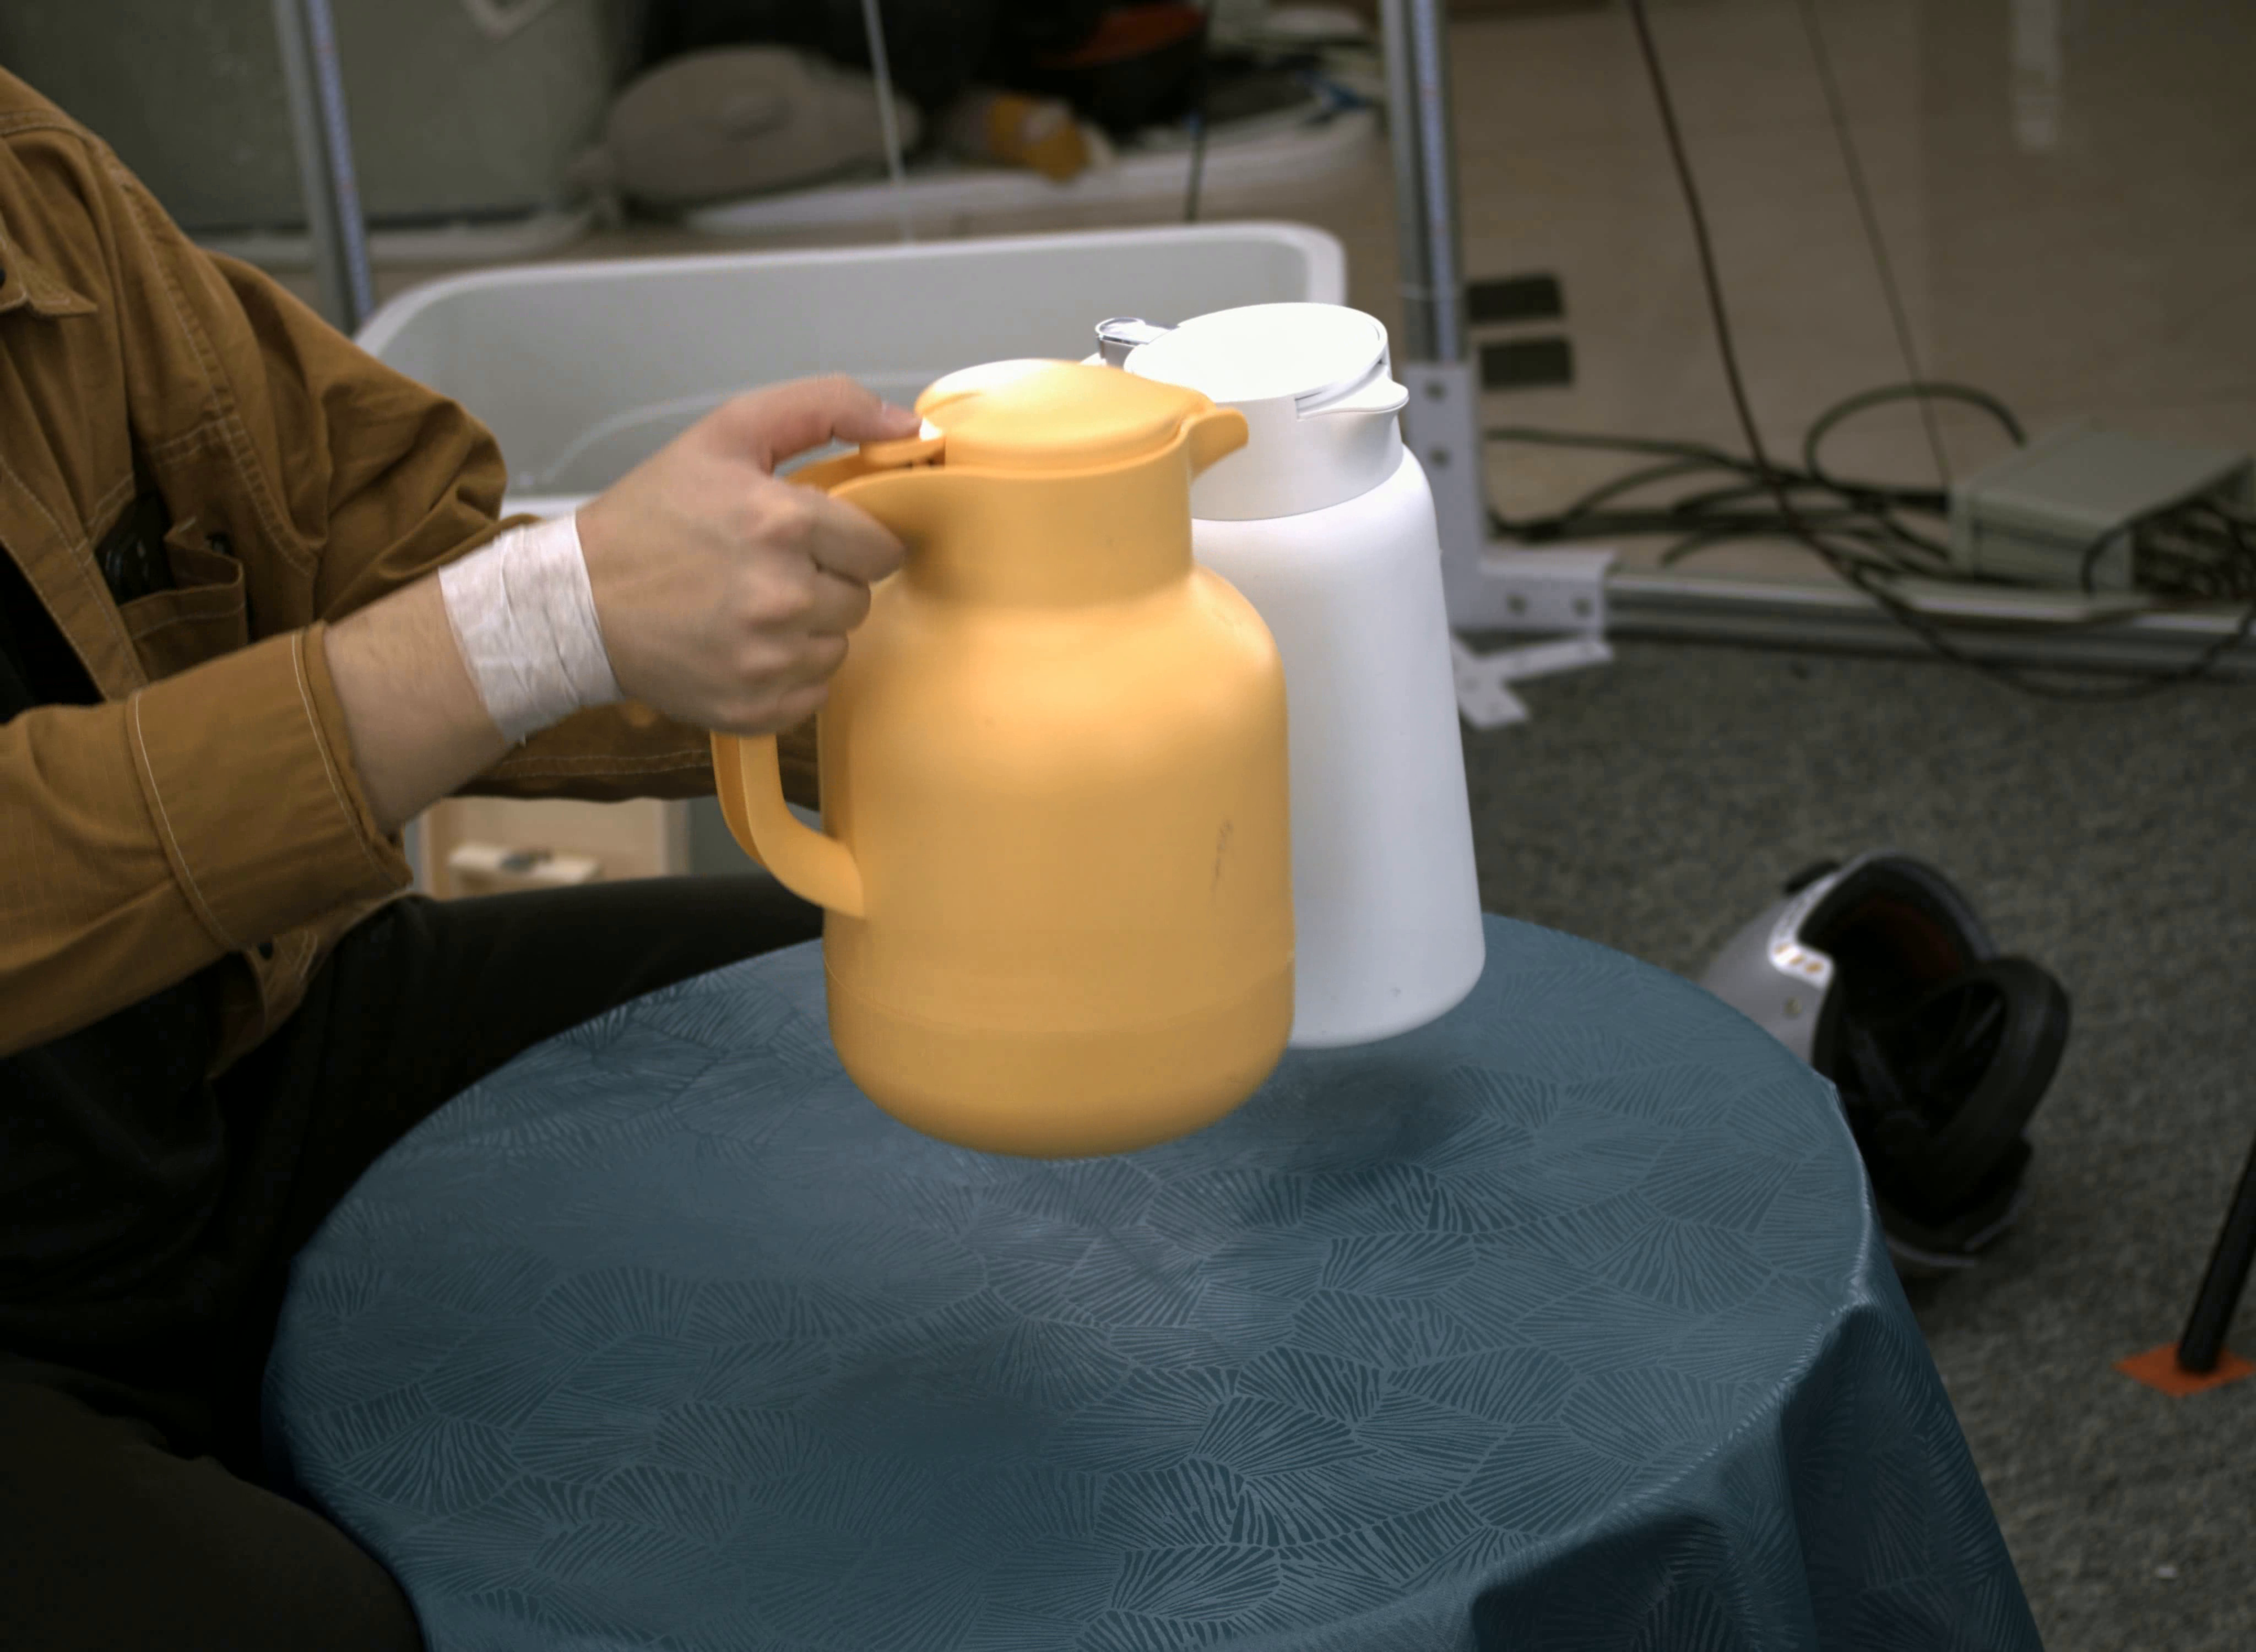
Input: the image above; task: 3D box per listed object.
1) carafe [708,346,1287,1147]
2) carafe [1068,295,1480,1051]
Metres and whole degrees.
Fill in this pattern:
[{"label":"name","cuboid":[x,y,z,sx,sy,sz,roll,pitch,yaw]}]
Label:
[{"label":"carafe","cuboid":[-0.045,-0.028,1.916,0.202,0.264,0.161,-10,22,-24]},{"label":"carafe","cuboid":[0.048,-0.059,2.132,0.171,0.273,0.122,15,37,38]}]
